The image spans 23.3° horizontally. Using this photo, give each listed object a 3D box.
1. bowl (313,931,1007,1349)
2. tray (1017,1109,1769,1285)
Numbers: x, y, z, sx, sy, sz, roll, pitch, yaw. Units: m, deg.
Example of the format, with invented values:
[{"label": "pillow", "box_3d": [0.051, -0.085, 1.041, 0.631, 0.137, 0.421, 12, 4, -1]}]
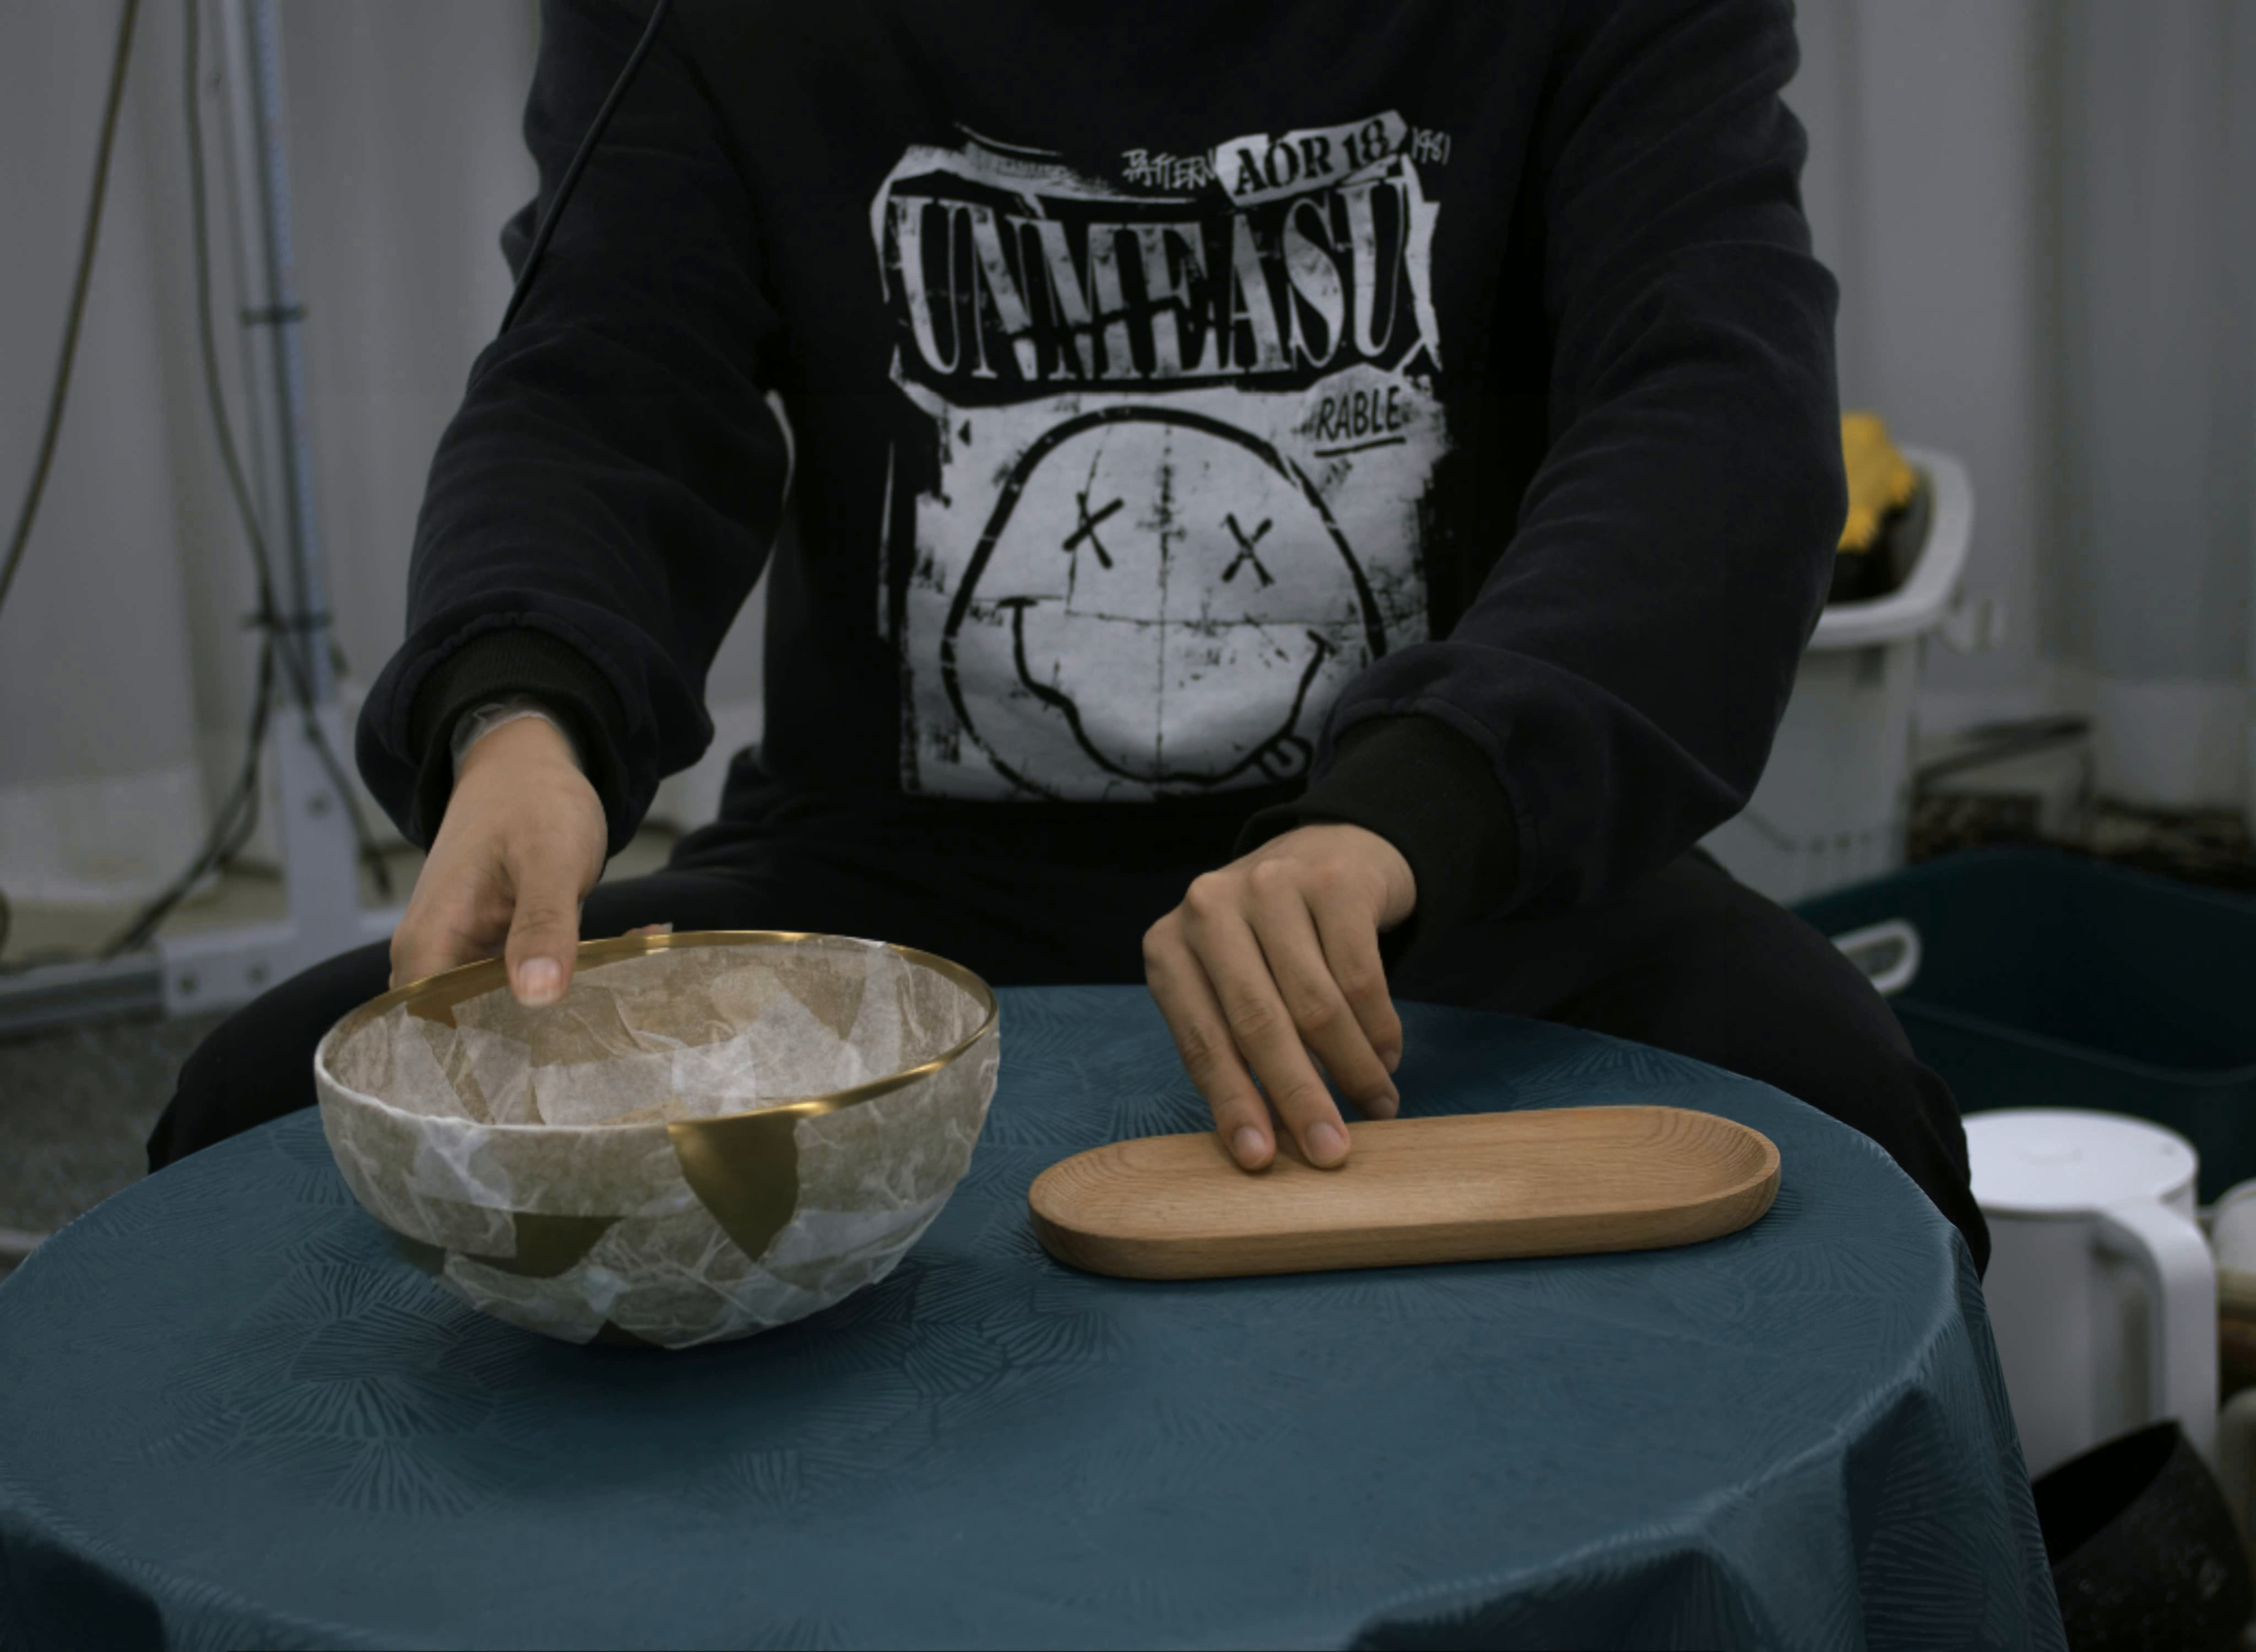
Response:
[{"label": "bowl", "box_3d": [-0.132, 0.100, 1.618, 0.214, 0.094, 0.216, -3, 13, 1]}, {"label": "tray", "box_3d": [0.081, 0.114, 1.673, 0.230, 0.020, 0.102, -5, 13, -2]}]
